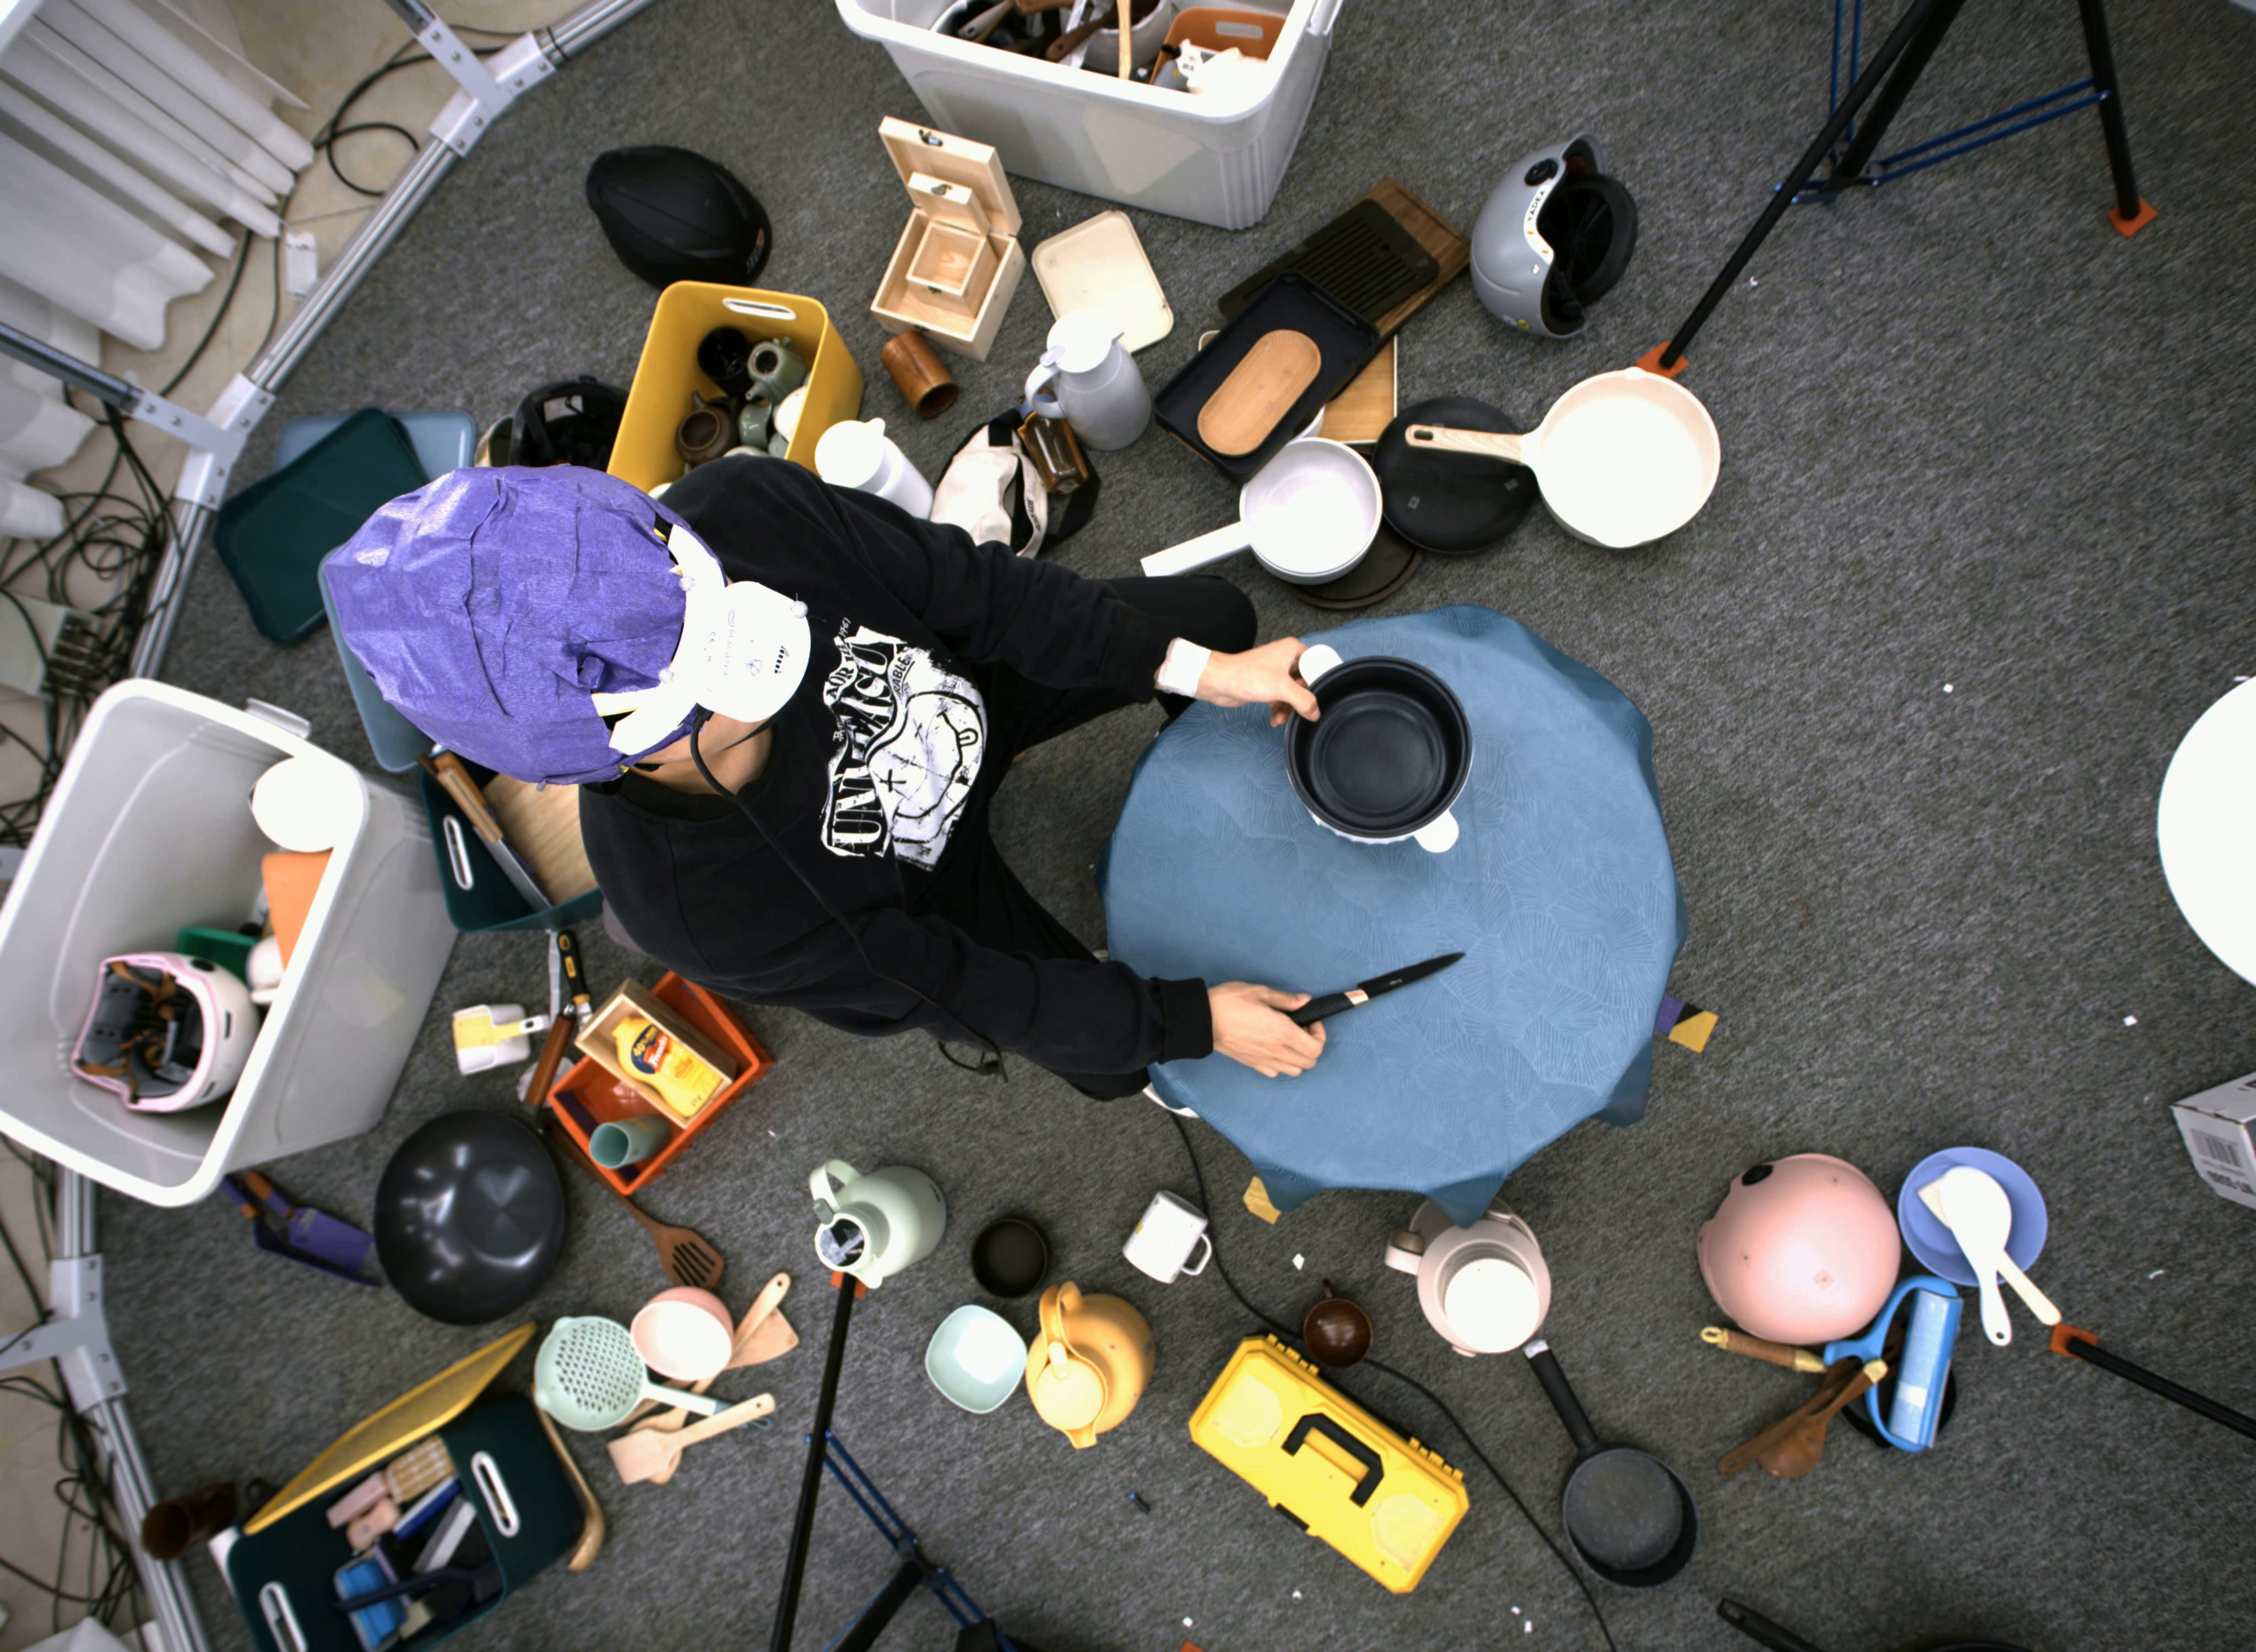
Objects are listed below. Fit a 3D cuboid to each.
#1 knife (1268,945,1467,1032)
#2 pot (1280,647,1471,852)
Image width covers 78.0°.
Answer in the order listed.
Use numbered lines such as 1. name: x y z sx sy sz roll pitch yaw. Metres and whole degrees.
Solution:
1. knife: 0.252 0.170 1.454 0.226 0.017 0.025 -21 48 7
2. pot: 0.256 -0.076 1.401 0.192 0.142 0.239 -36 82 10
